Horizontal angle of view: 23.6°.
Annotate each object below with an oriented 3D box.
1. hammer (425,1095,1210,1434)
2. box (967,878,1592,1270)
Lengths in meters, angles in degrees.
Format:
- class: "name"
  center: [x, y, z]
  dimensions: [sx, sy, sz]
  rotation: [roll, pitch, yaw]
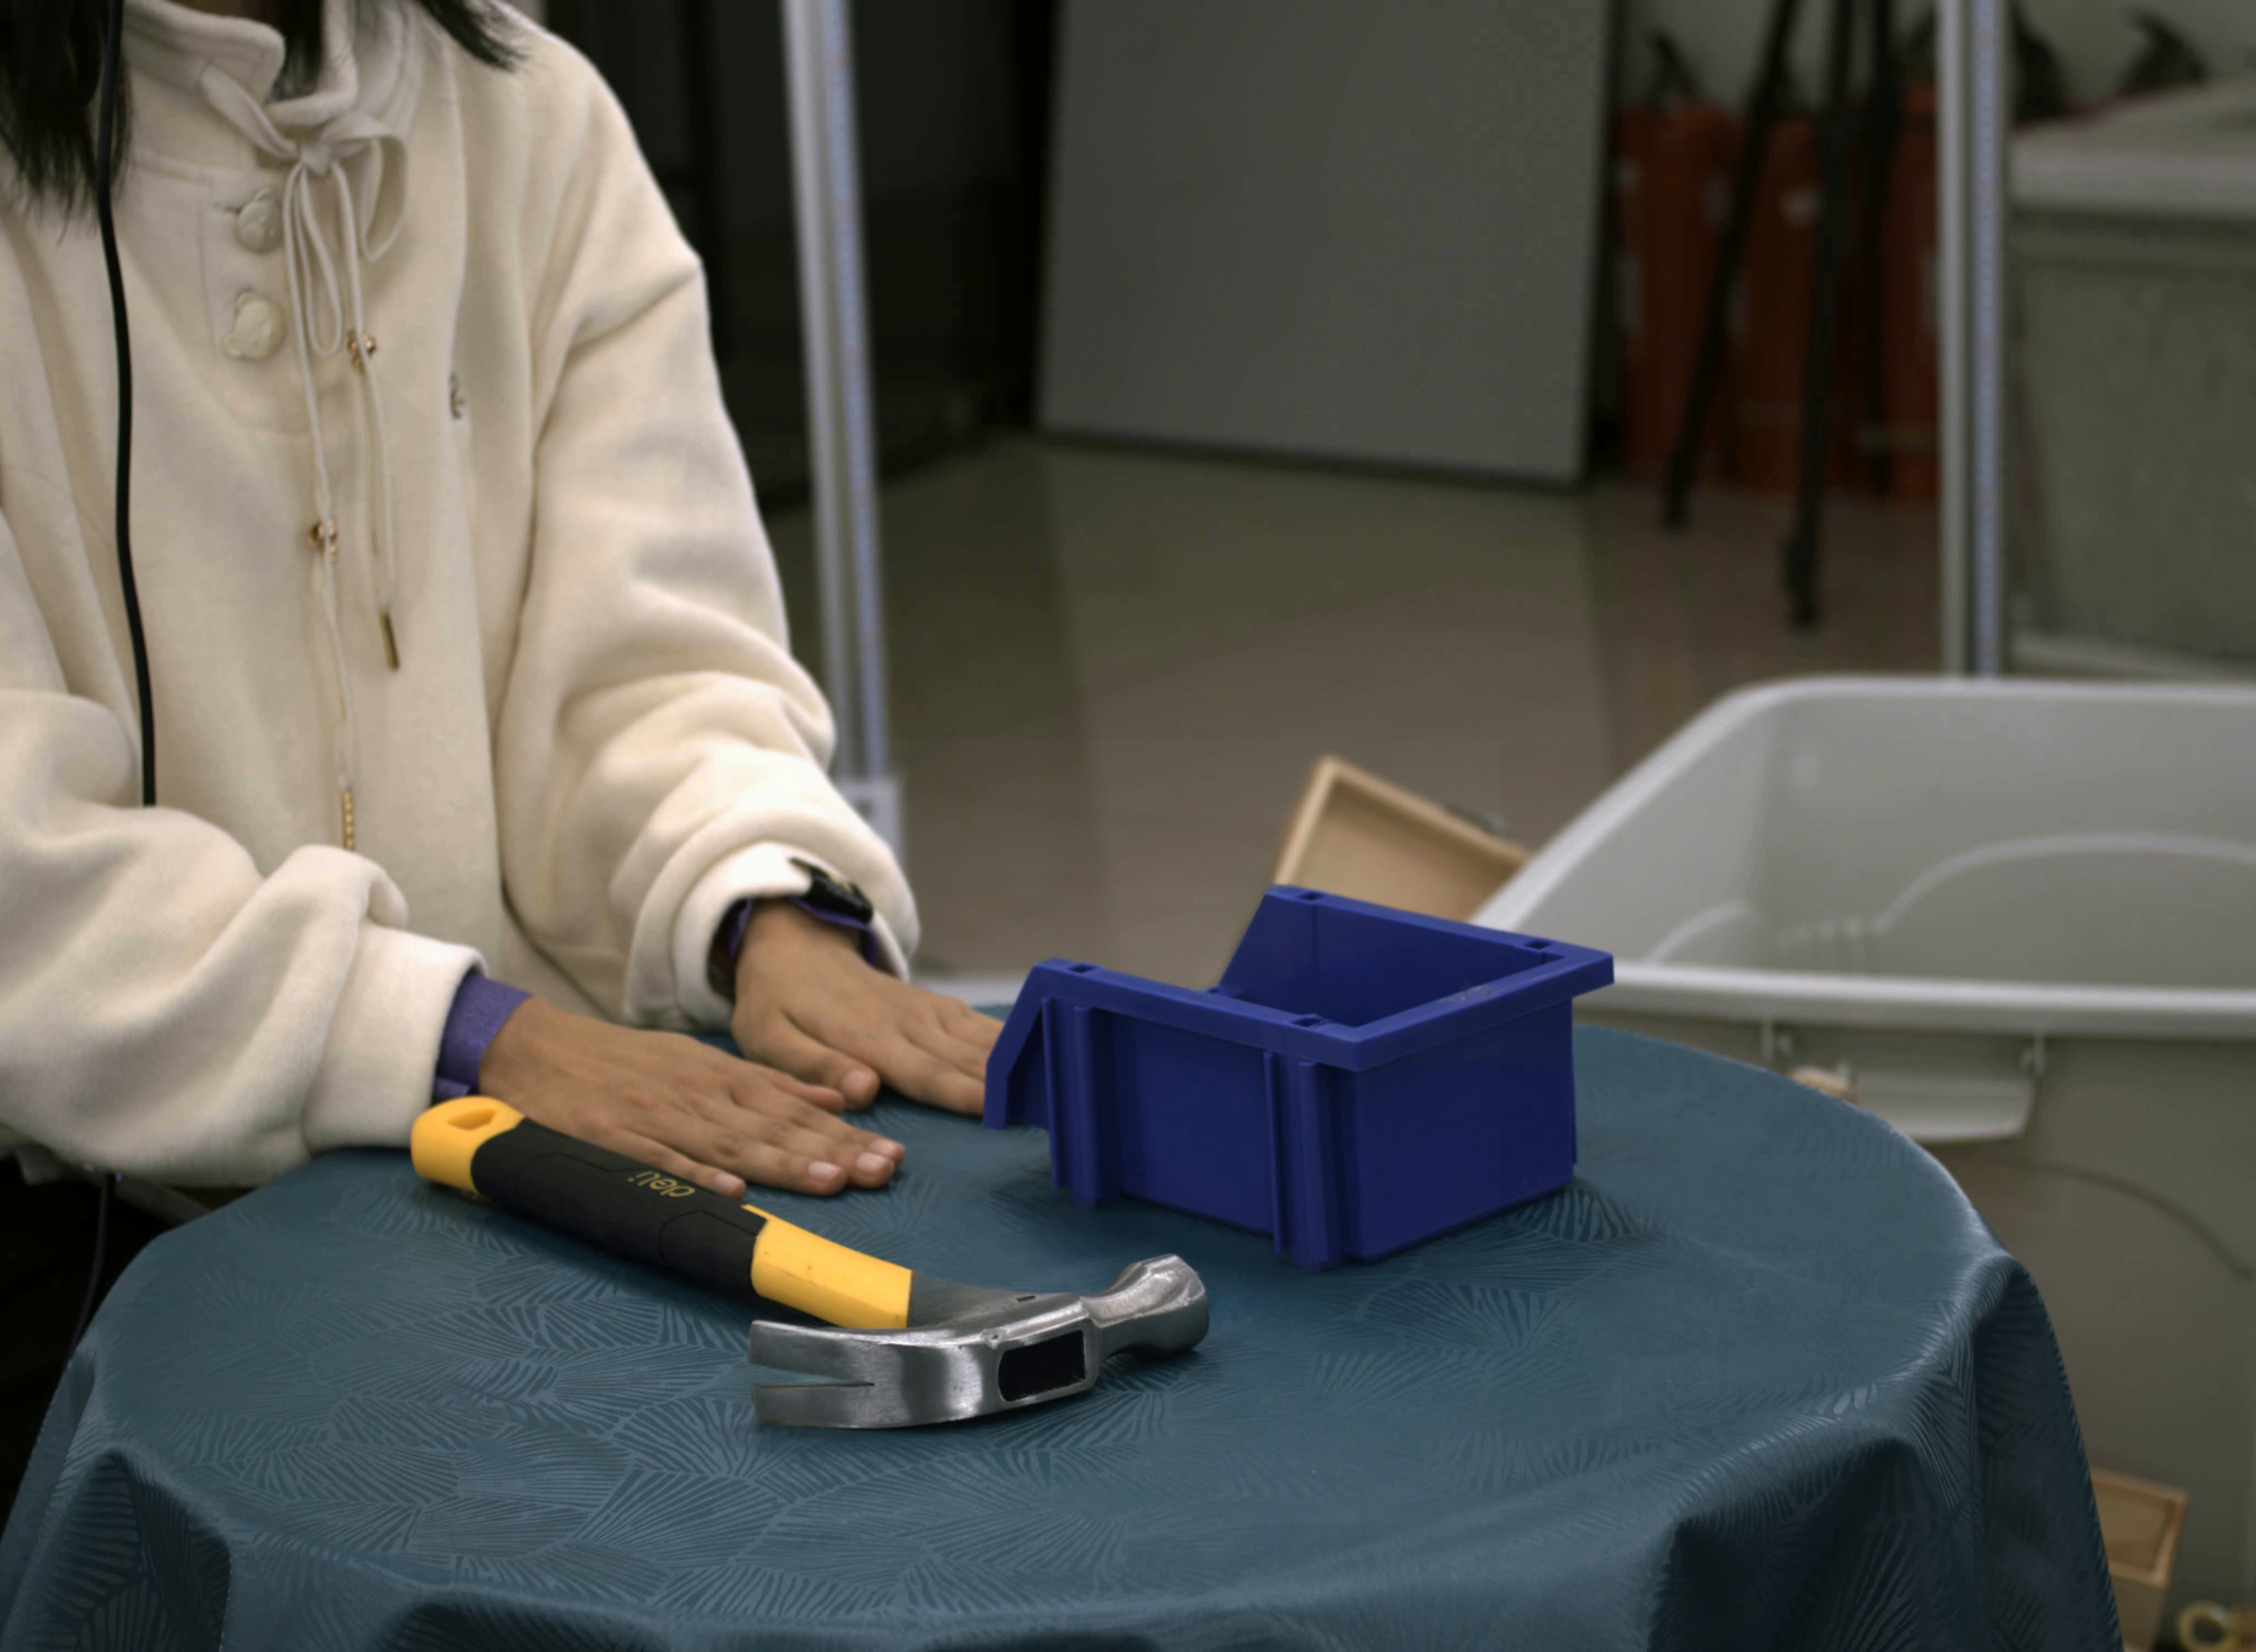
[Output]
- class: "hammer"
  center: [-0.125, 0.130, 1.702]
  dimensions: [0.128, 0.032, 0.342]
  rotation: [-15, 18, -33]
- class: "box"
  center: [0.046, 0.078, 1.762]
  dimensions: [0.122, 0.083, 0.181]
  rotation: [-16, 20, -39]
